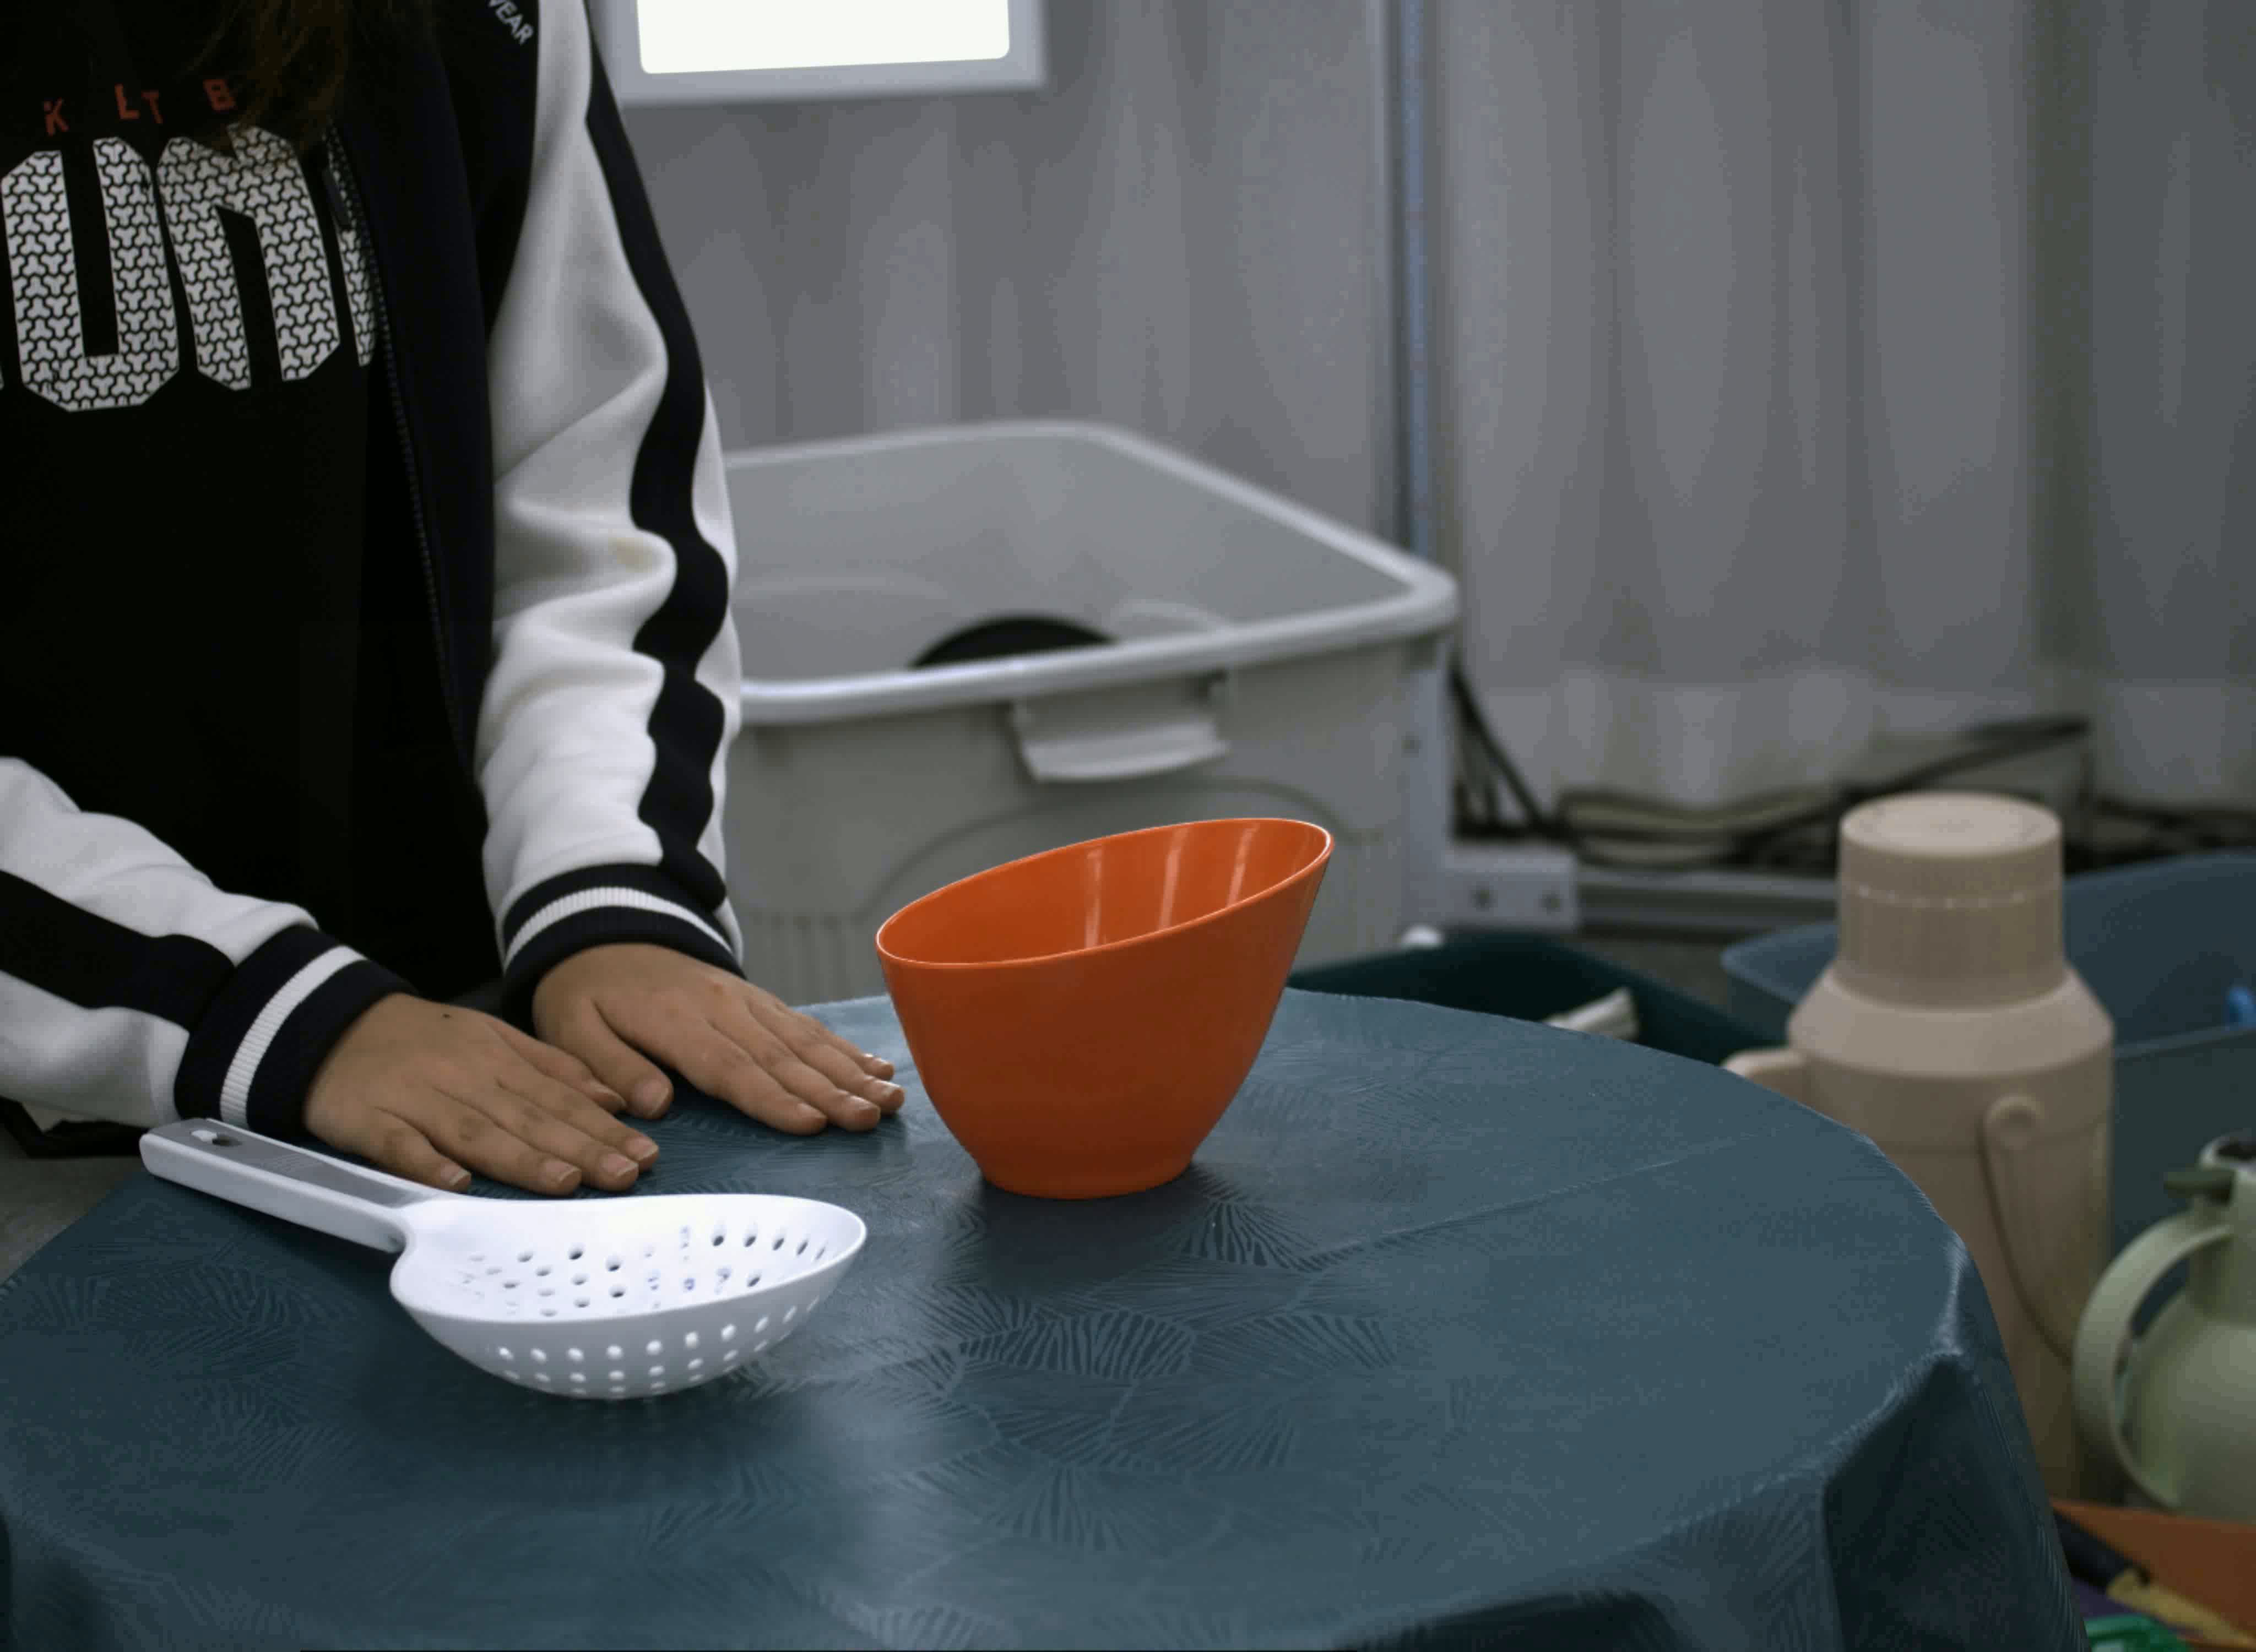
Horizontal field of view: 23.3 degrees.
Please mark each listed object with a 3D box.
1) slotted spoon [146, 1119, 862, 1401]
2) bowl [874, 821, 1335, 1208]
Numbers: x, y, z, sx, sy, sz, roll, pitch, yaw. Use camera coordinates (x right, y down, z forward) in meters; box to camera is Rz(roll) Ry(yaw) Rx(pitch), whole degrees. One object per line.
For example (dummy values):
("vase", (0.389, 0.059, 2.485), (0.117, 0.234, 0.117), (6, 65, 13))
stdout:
("slotted spoon", (-0.207, 0.121, 1.646), (0.135, 0.045, 0.352), (-12, 16, -35))
("bowl", (-0.005, 0.061, 1.725), (0.147, 0.104, 0.149), (-4, 15, 1))
